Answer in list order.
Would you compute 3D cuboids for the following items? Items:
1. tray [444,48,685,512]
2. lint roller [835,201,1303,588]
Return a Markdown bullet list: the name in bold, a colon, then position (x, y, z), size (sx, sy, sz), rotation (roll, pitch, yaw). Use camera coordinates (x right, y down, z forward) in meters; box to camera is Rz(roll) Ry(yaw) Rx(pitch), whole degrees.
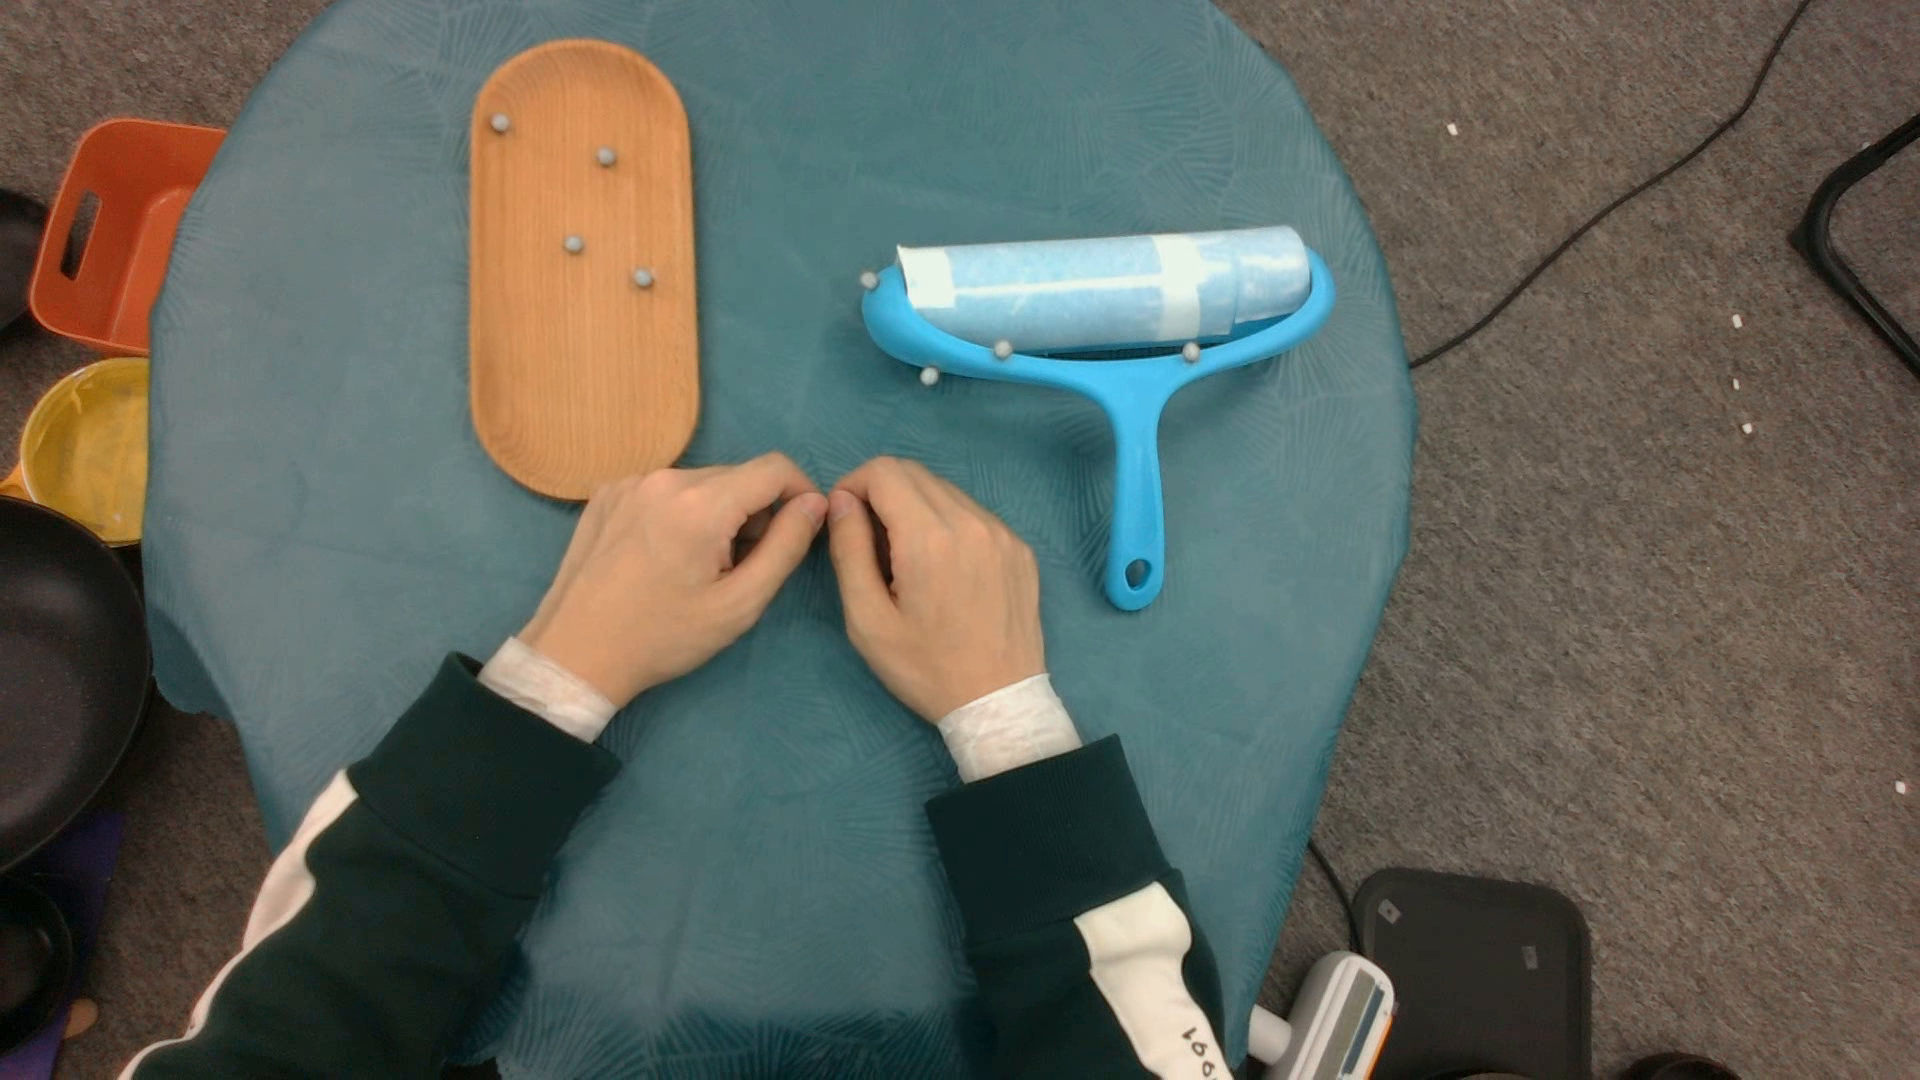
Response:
- **tray**: position (-0.186, -0.125, 0.647), size (0.102, 0.020, 0.231), rotation (-5, 78, -9)
- **lint roller**: position (0.066, -0.071, 0.649), size (0.229, 0.067, 0.180), rotation (-9, 77, -12)
